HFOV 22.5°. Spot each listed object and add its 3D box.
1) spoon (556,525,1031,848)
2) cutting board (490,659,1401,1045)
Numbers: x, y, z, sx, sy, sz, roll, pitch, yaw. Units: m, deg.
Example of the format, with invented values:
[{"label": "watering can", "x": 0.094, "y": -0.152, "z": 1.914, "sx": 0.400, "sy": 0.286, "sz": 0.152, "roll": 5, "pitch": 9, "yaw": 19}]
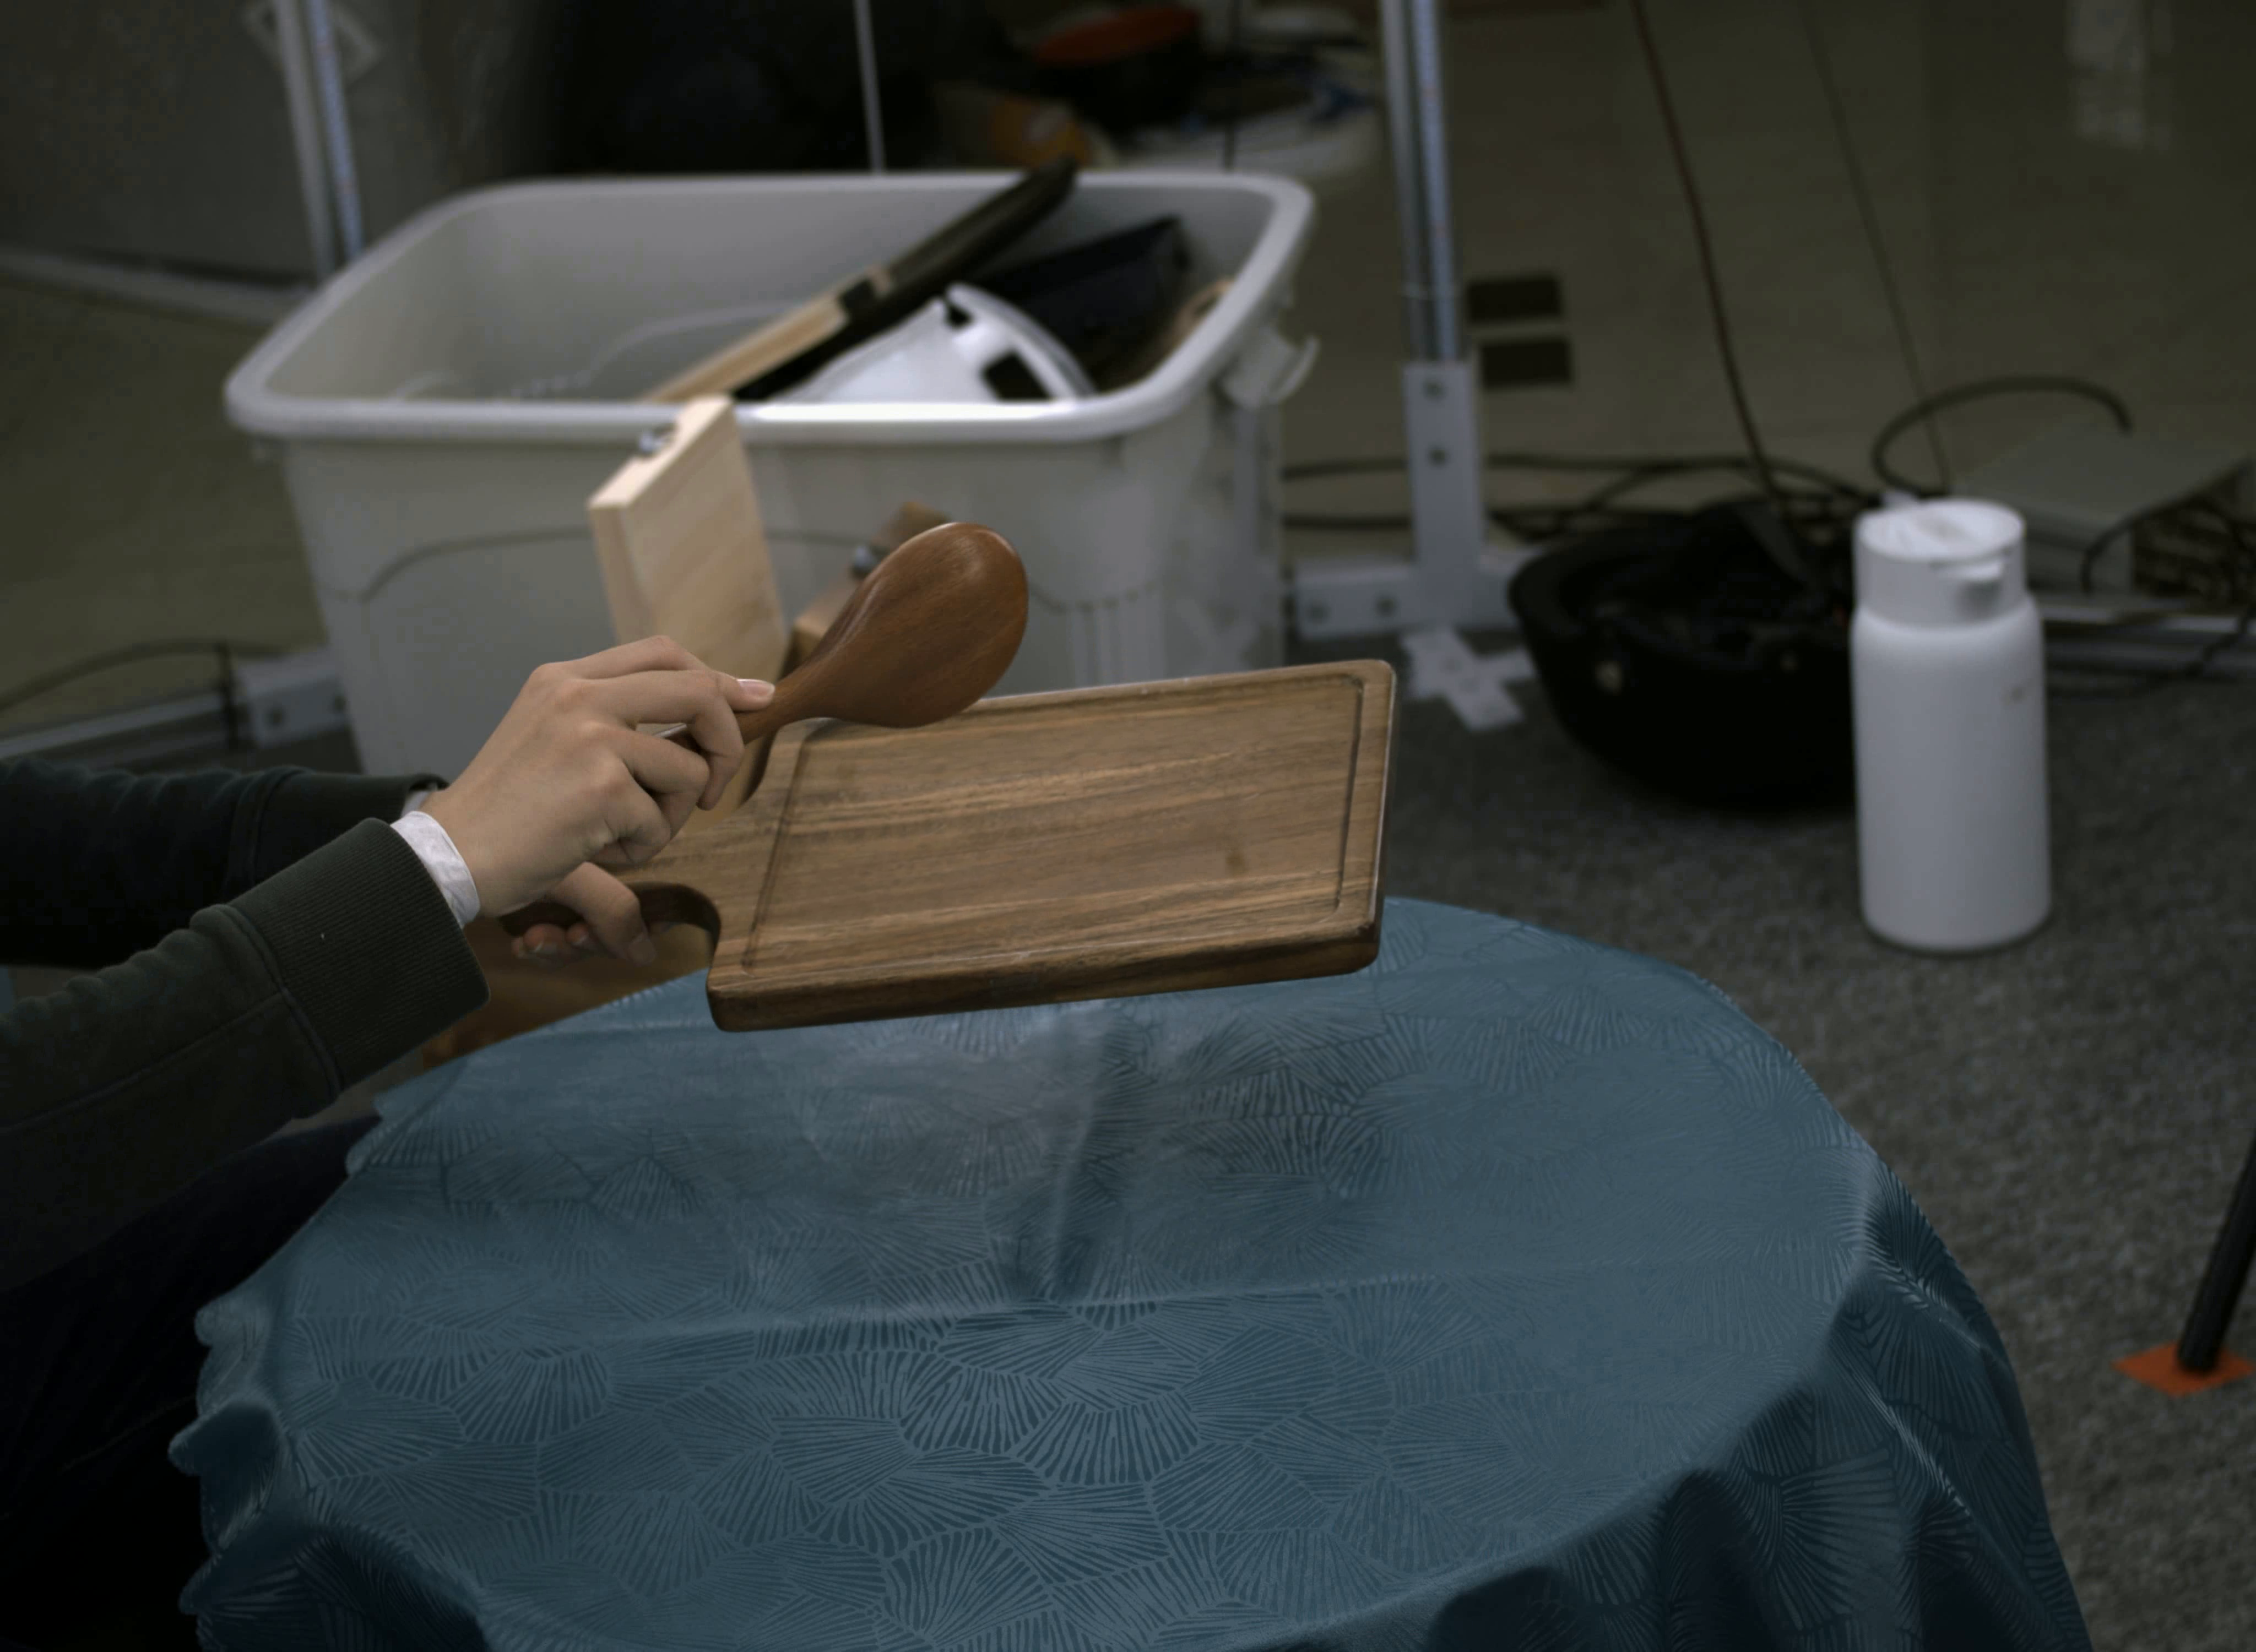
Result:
[{"label": "spoon", "x": -0.113, "y": -0.044, "z": 2.004, "sx": 0.214, "sy": 0.077, "sz": 0.017, "roll": -29, "pitch": 43, "yaw": -31}, {"label": "cutting board", "x": -0.072, "y": 0.013, "z": 2.158, "sx": 0.352, "sy": 0.023, "sz": 0.197, "roll": -6, "pitch": 34, "yaw": 10}]
